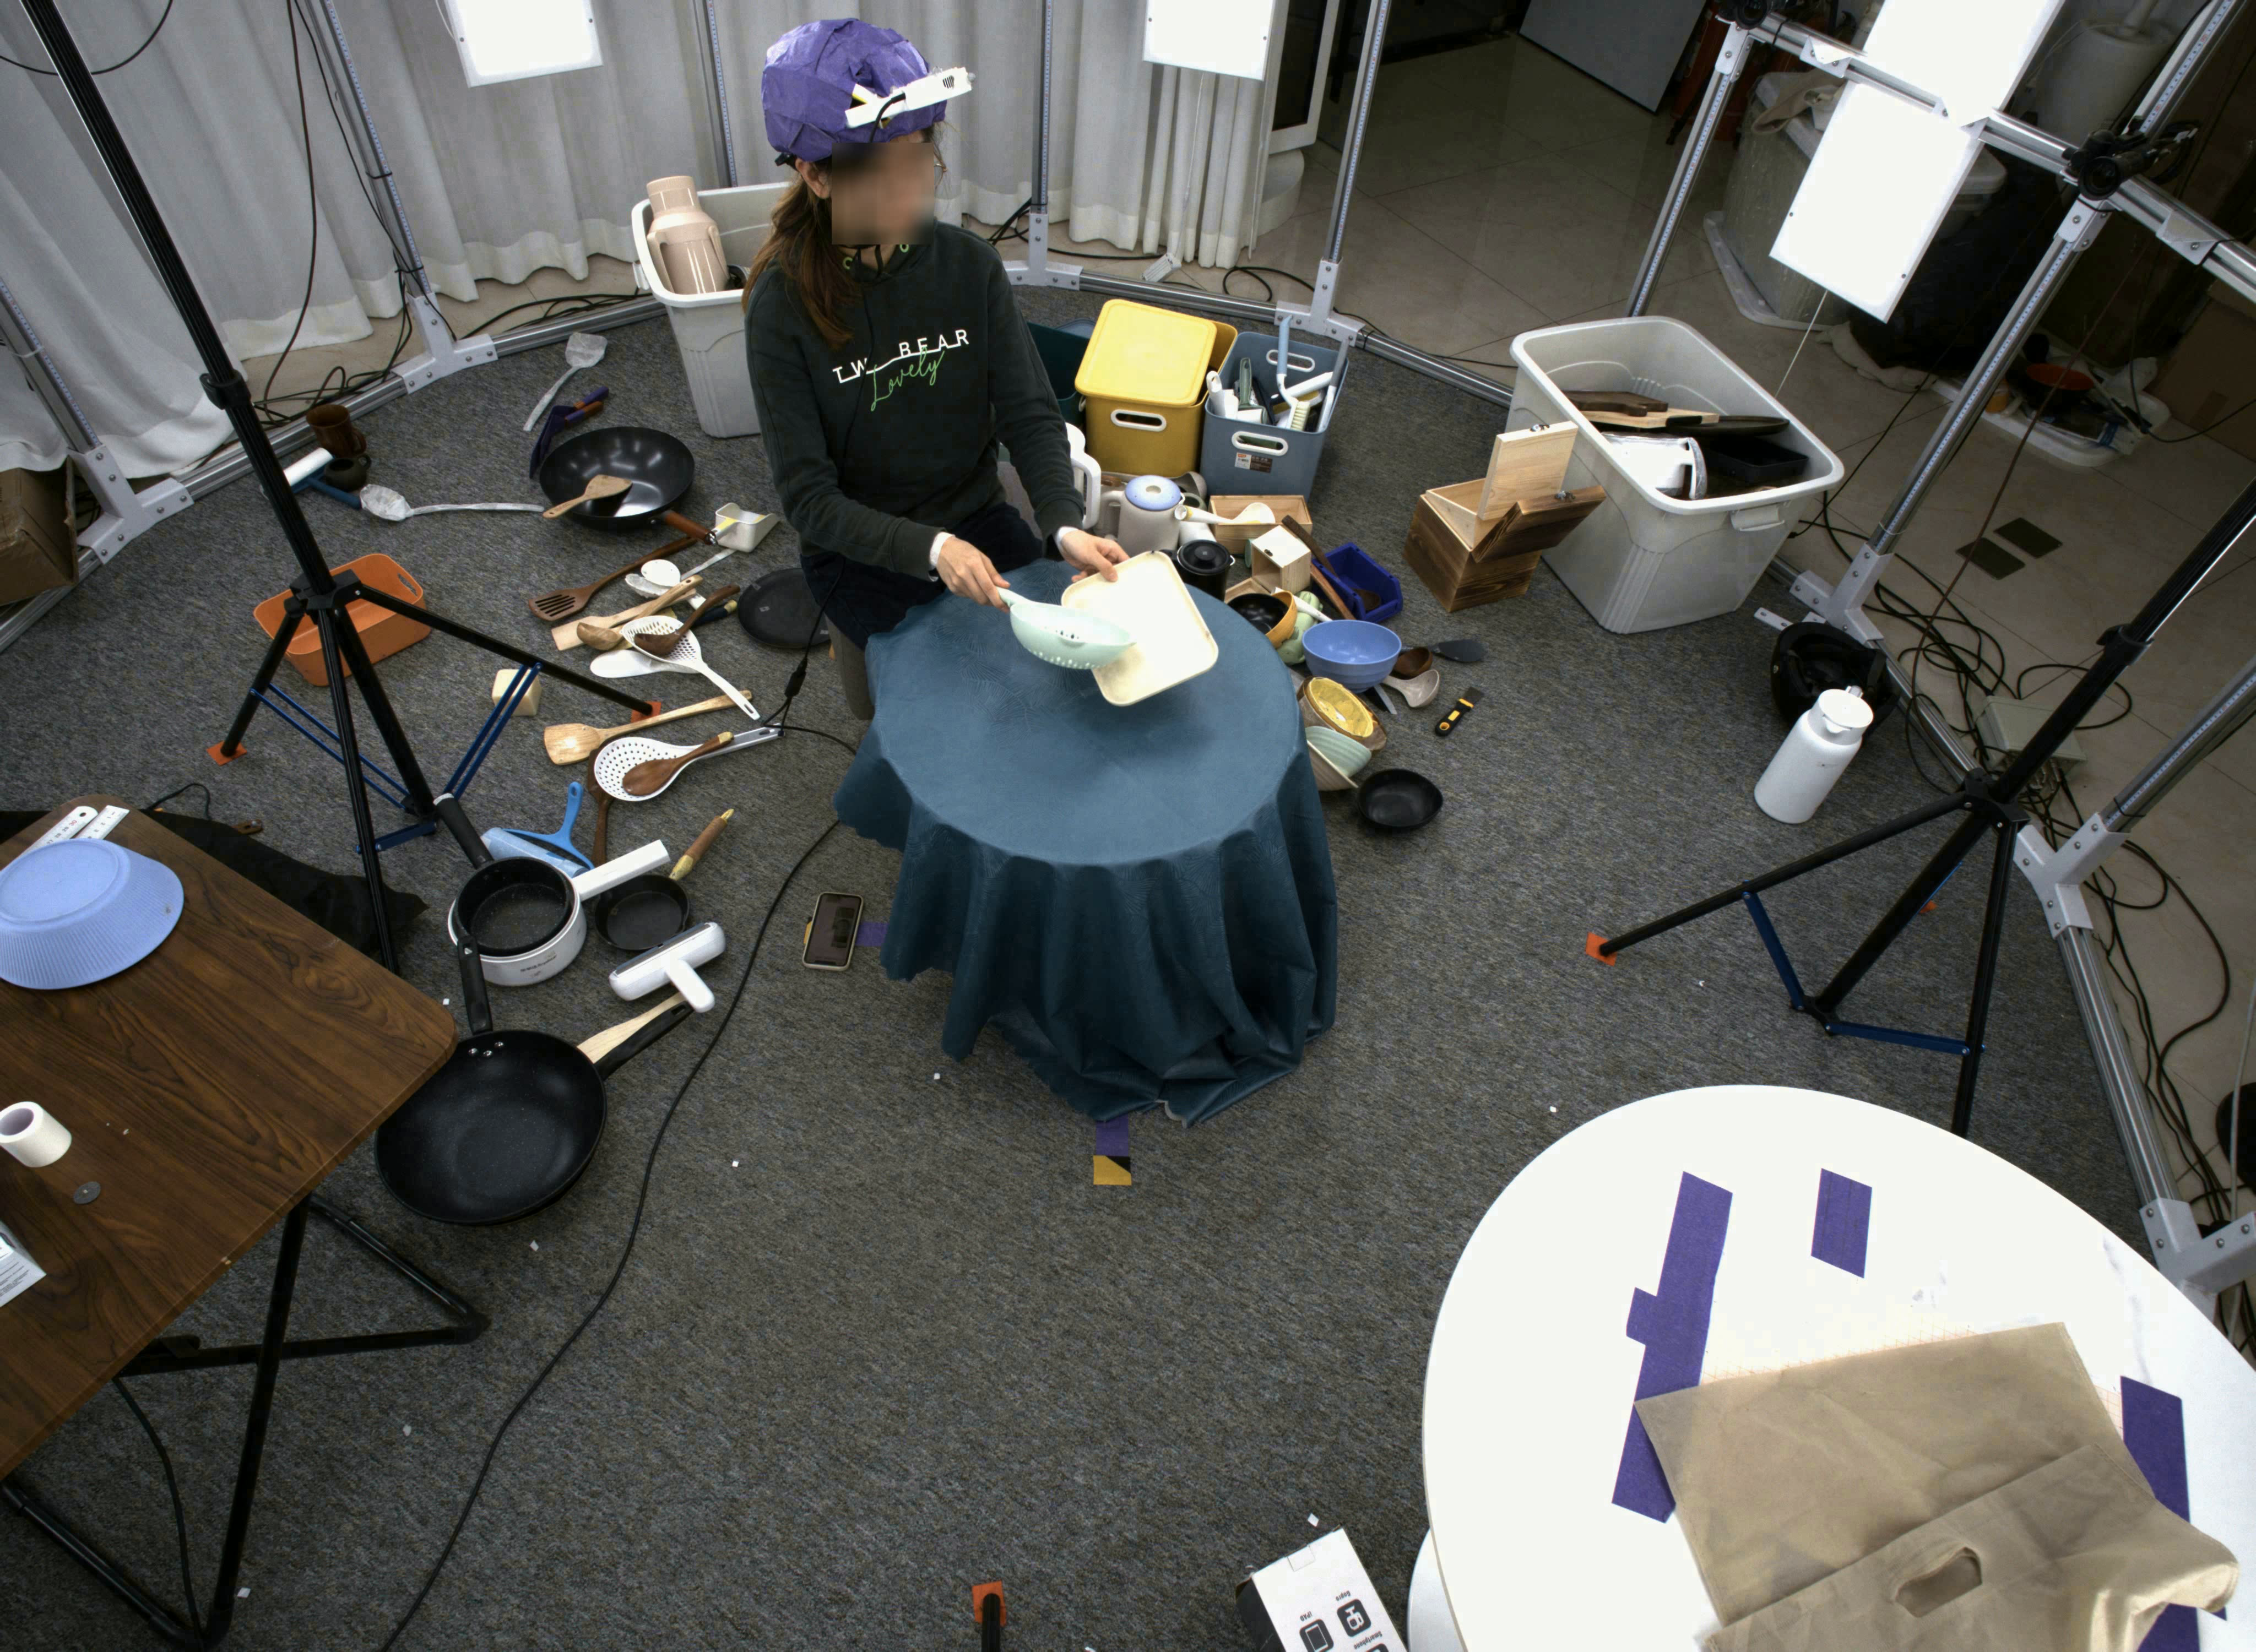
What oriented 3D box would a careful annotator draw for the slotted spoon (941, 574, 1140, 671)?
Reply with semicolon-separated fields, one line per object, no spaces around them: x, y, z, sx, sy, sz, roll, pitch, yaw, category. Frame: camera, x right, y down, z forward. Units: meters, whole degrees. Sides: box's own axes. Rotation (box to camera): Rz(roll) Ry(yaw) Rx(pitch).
-0.145;-0.300;1.808;0.169;0.074;0.365;-5;34;-47;slotted spoon

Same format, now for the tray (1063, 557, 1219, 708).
0.016;-0.275;1.816;0.171;0.017;0.245;-23;55;-1;tray
